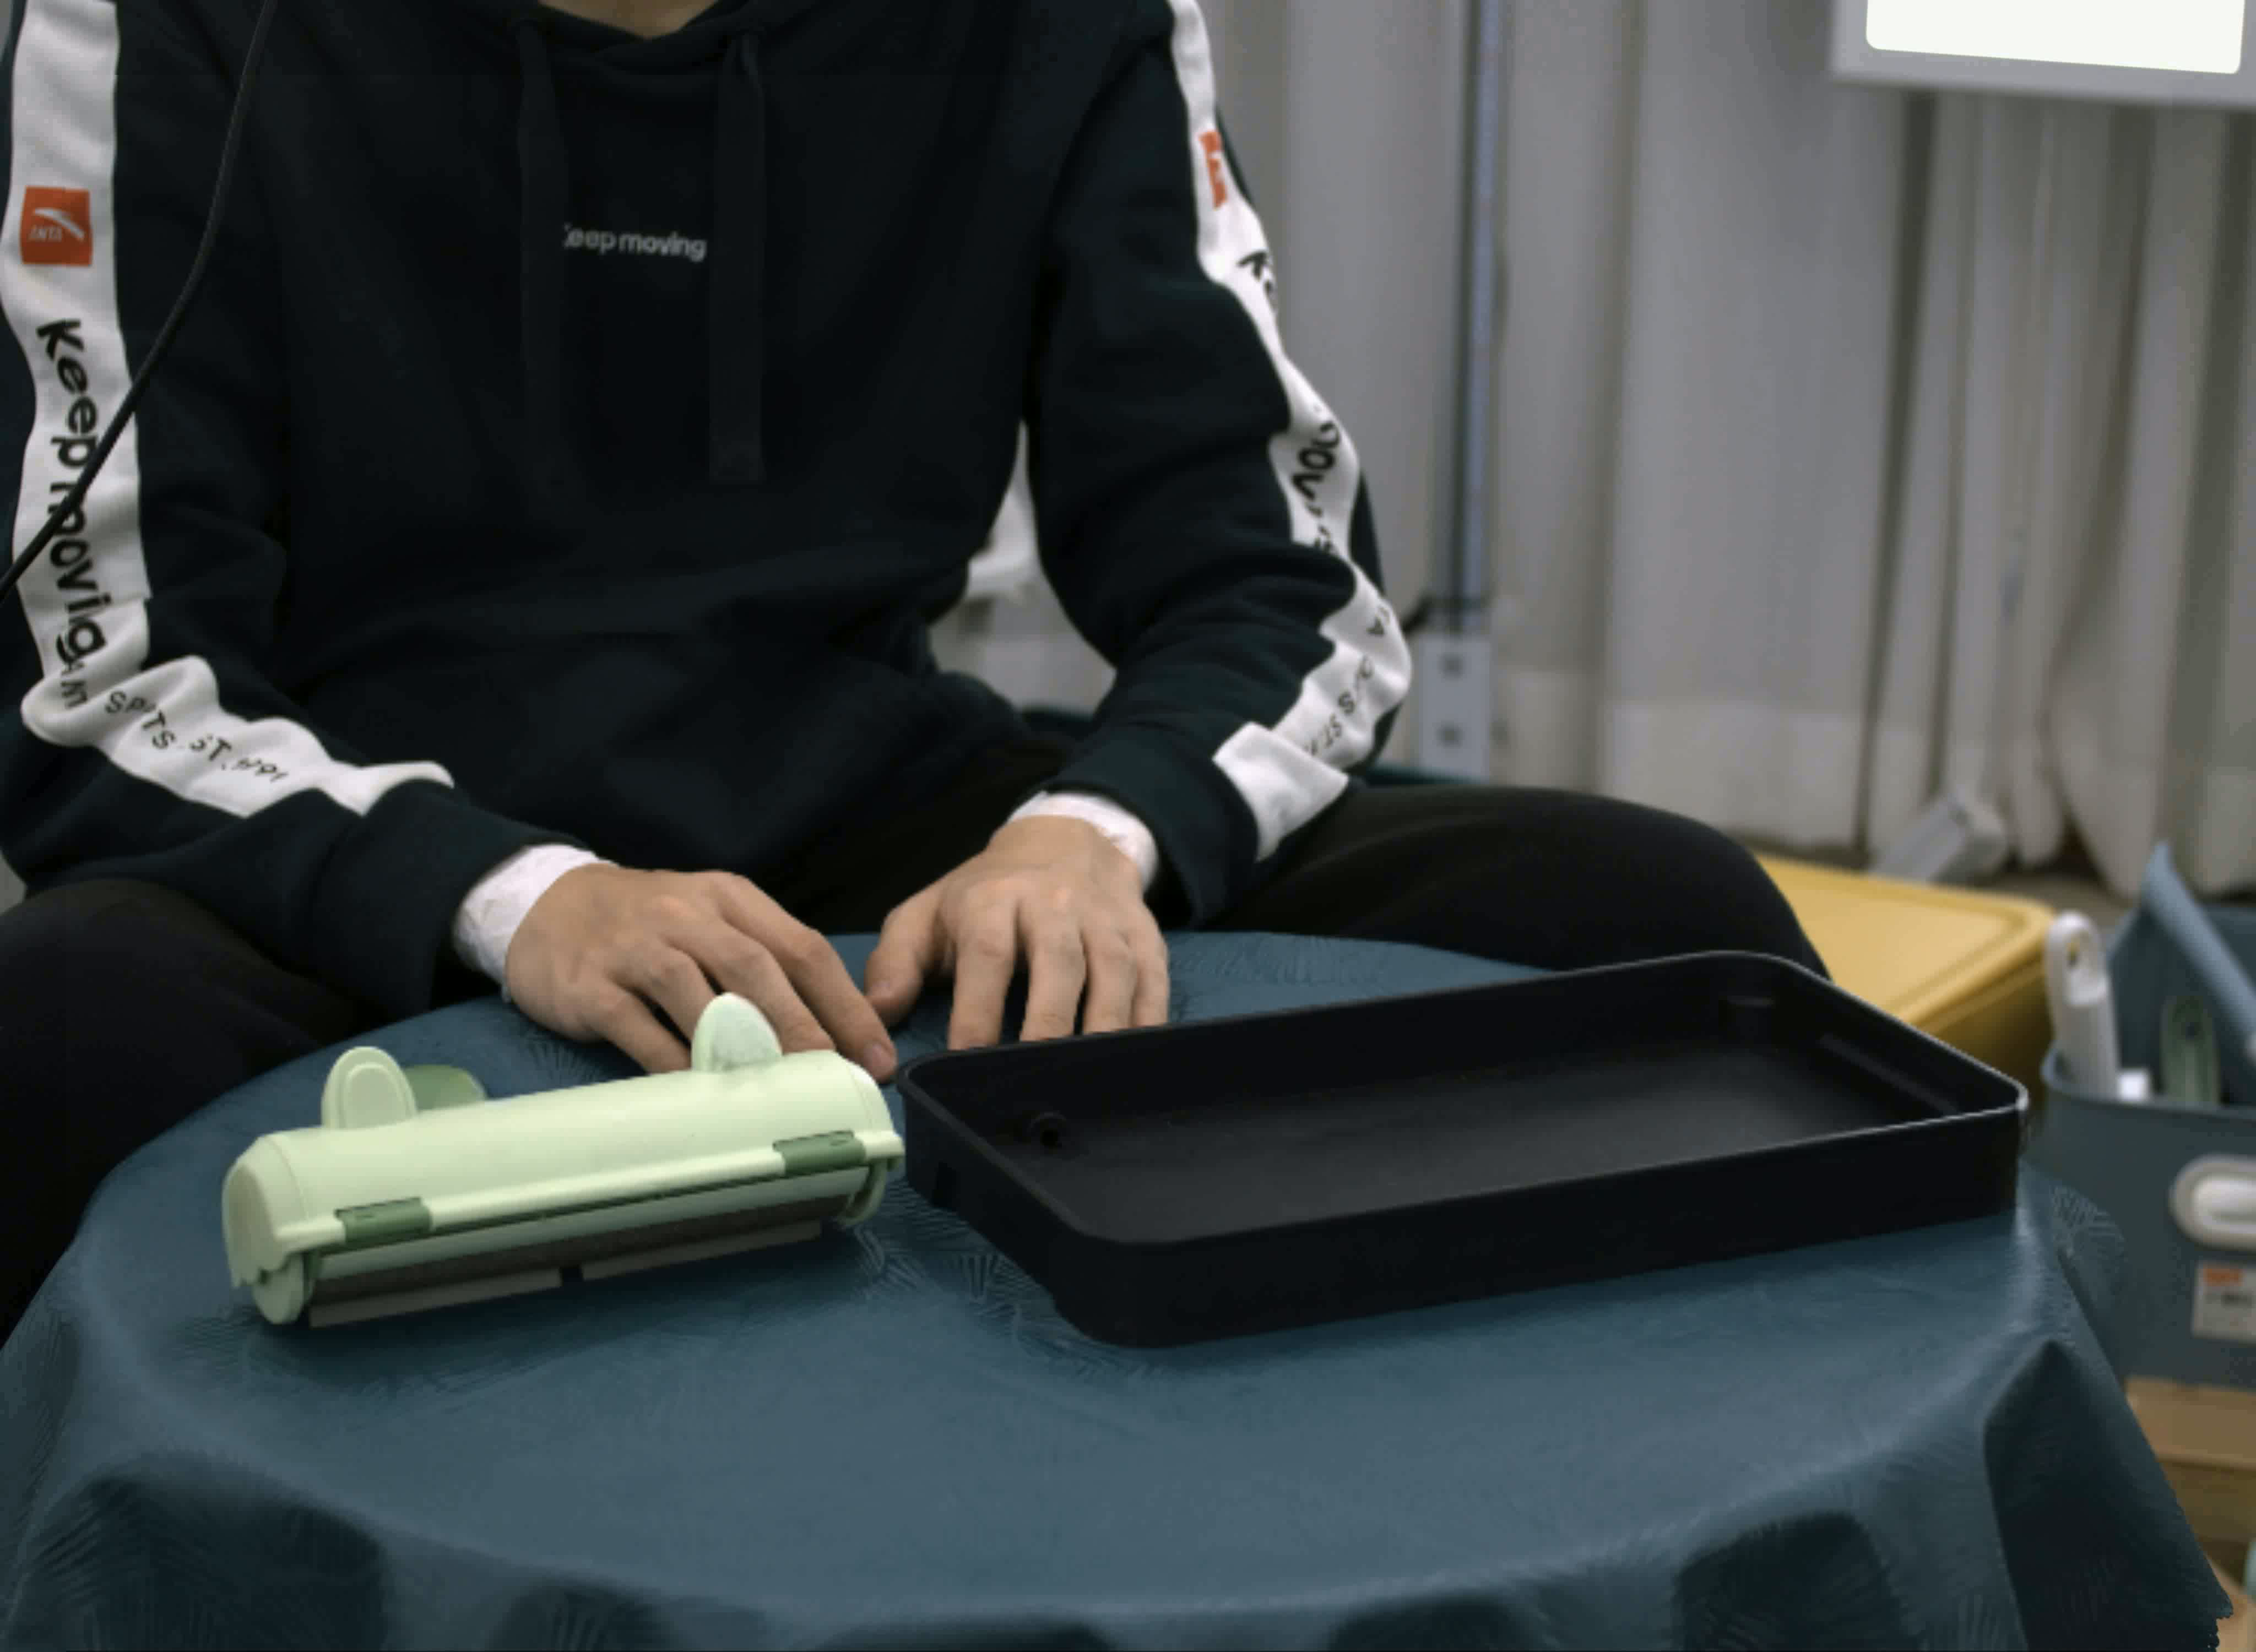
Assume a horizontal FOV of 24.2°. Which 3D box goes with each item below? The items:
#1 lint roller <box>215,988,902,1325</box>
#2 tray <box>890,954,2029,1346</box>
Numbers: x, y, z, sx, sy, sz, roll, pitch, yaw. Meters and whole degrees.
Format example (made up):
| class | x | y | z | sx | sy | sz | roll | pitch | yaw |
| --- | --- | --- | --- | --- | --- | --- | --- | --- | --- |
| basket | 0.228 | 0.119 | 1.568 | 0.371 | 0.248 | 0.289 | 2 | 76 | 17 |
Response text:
| class | x | y | z | sx | sy | sz | roll | pitch | yaw |
| --- | --- | --- | --- | --- | --- | --- | --- | --- | --- |
| lint roller | -0.191 | 0.081 | 1.576 | 0.199 | 0.083 | 0.181 | -8 | 21 | -27 |
| tray | 0.101 | 0.095 | 1.618 | 0.319 | 0.037 | 0.182 | -6 | 17 | -23 |
